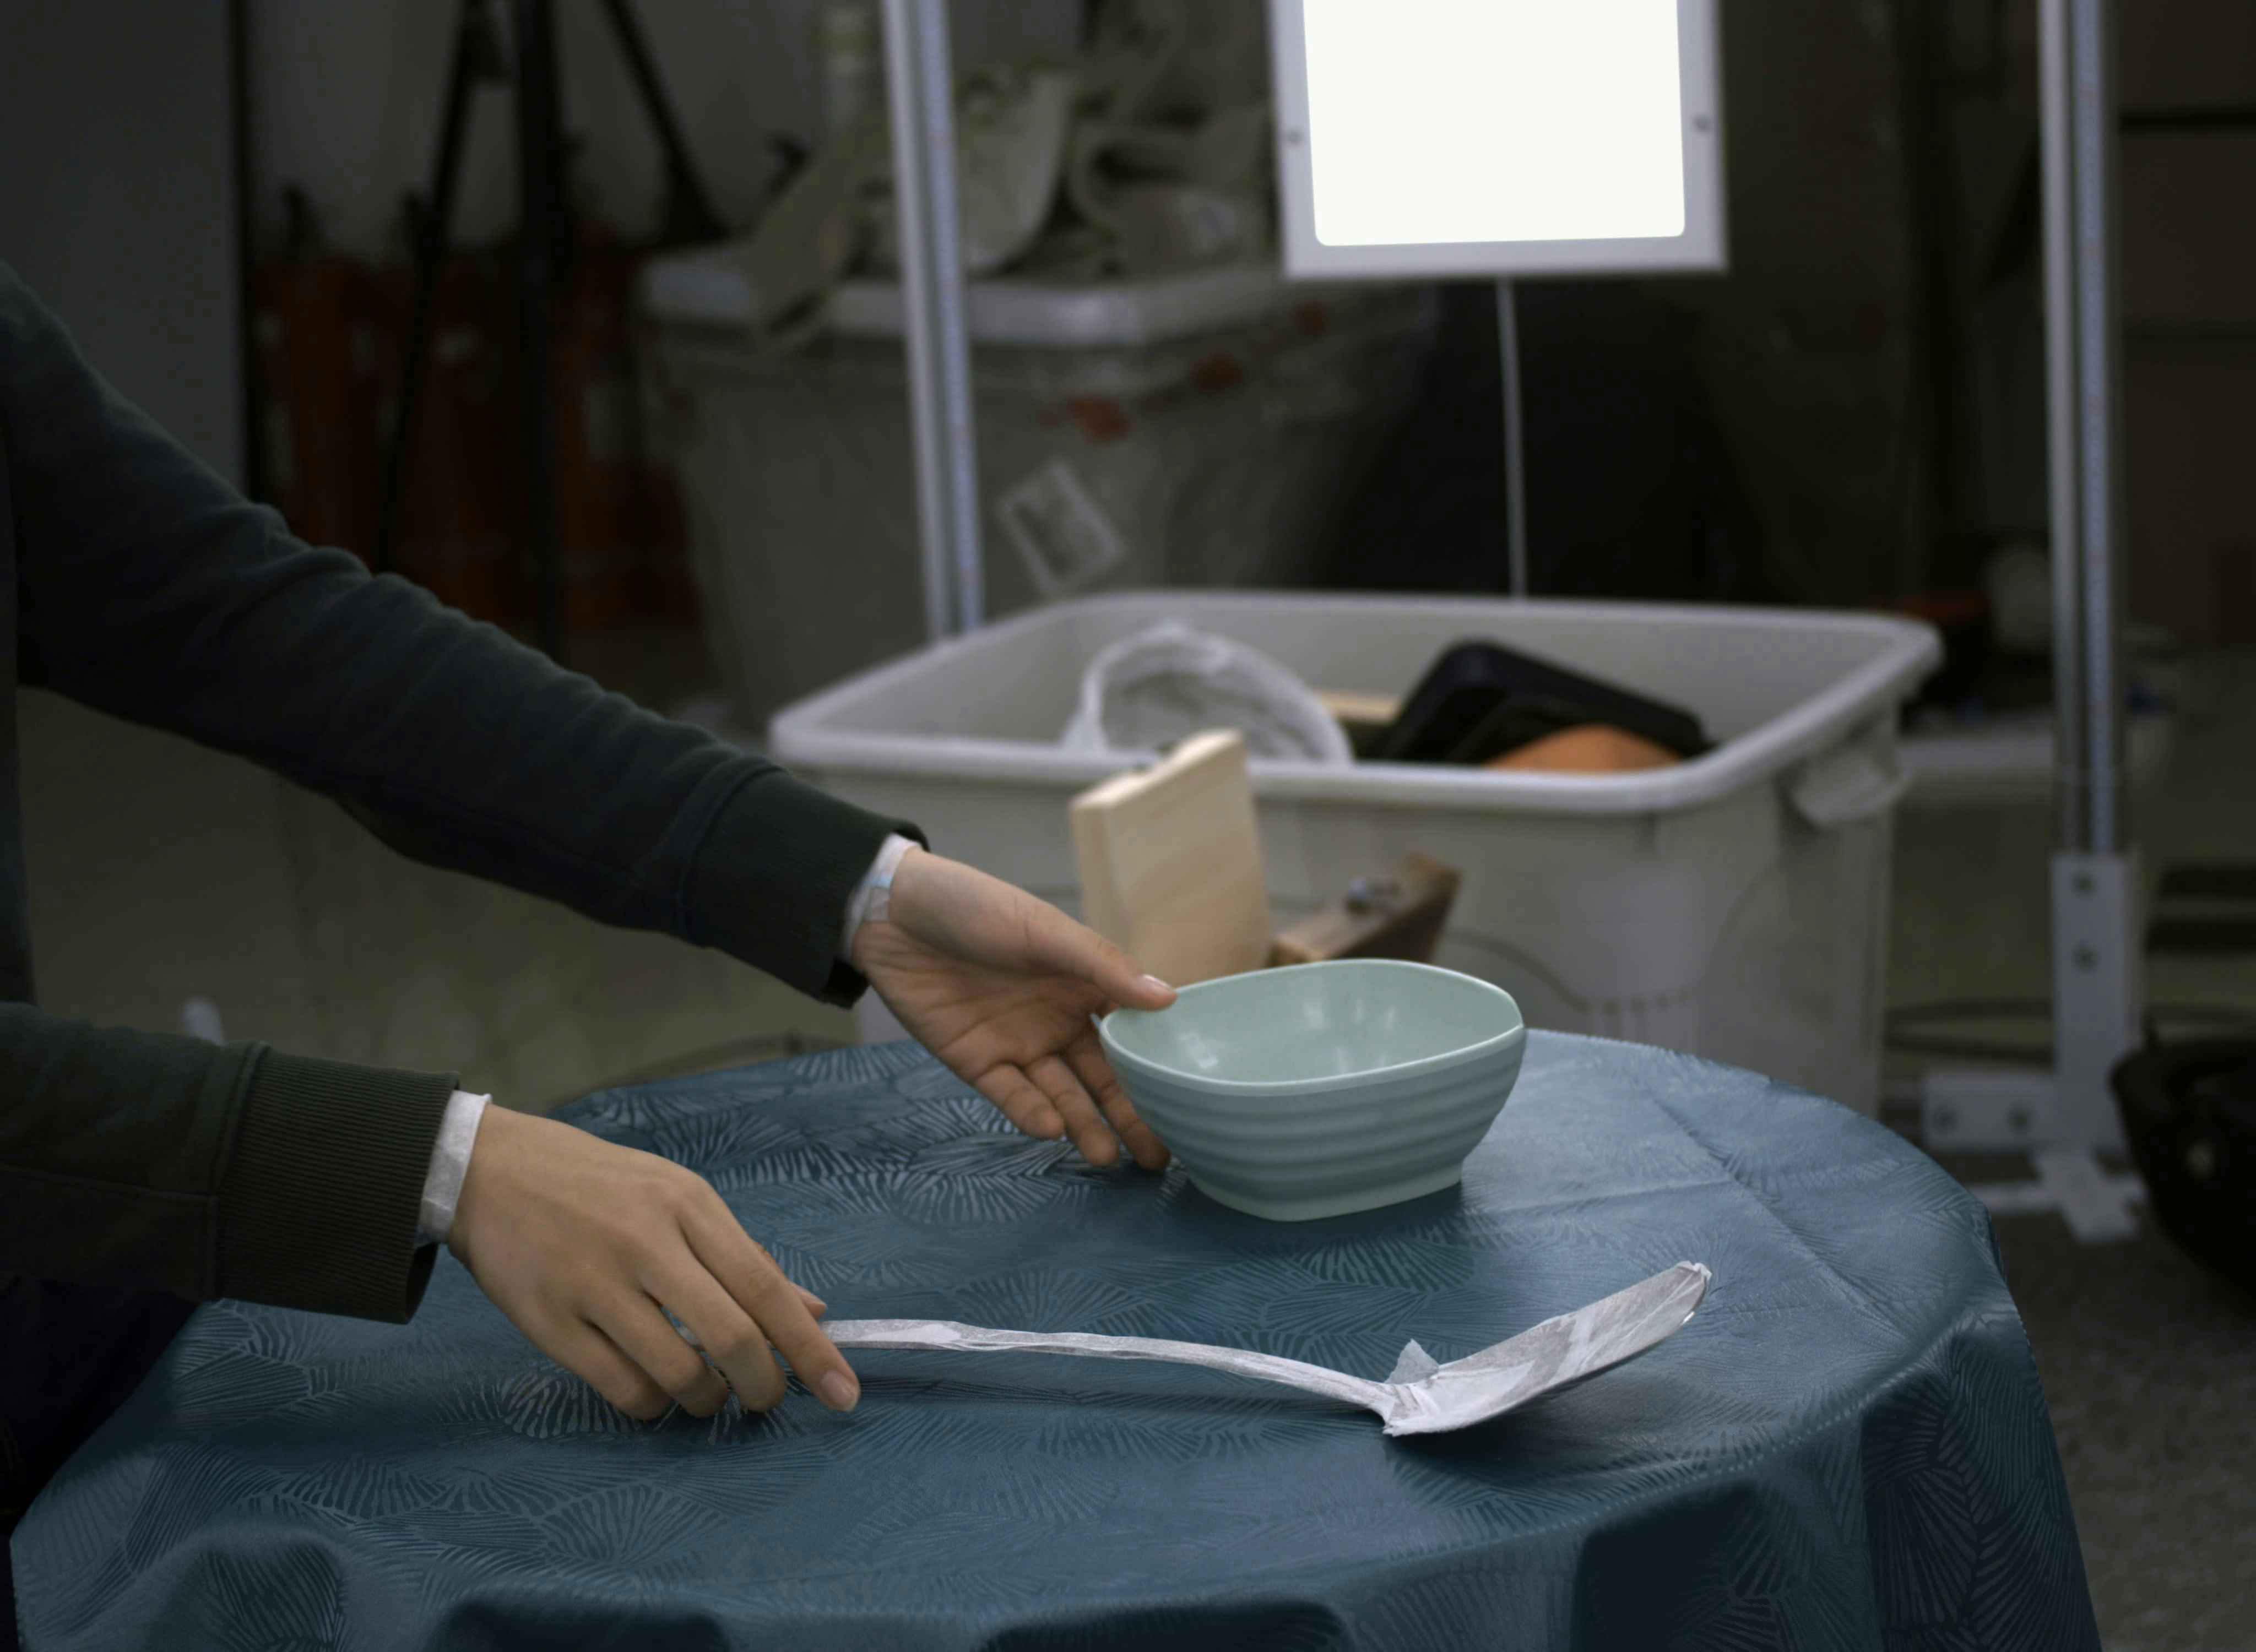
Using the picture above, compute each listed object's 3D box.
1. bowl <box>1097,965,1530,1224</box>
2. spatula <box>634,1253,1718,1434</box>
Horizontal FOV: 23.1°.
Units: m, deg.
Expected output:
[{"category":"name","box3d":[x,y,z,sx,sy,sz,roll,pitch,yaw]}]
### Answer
[{"category":"bowl","box3d":[0.064,0.095,1.888,0.151,0.059,0.151,-2,14,-1]},{"category":"spatula","box3d":[0.003,0.156,1.695,0.370,0.045,0.097,1,17,24]}]
